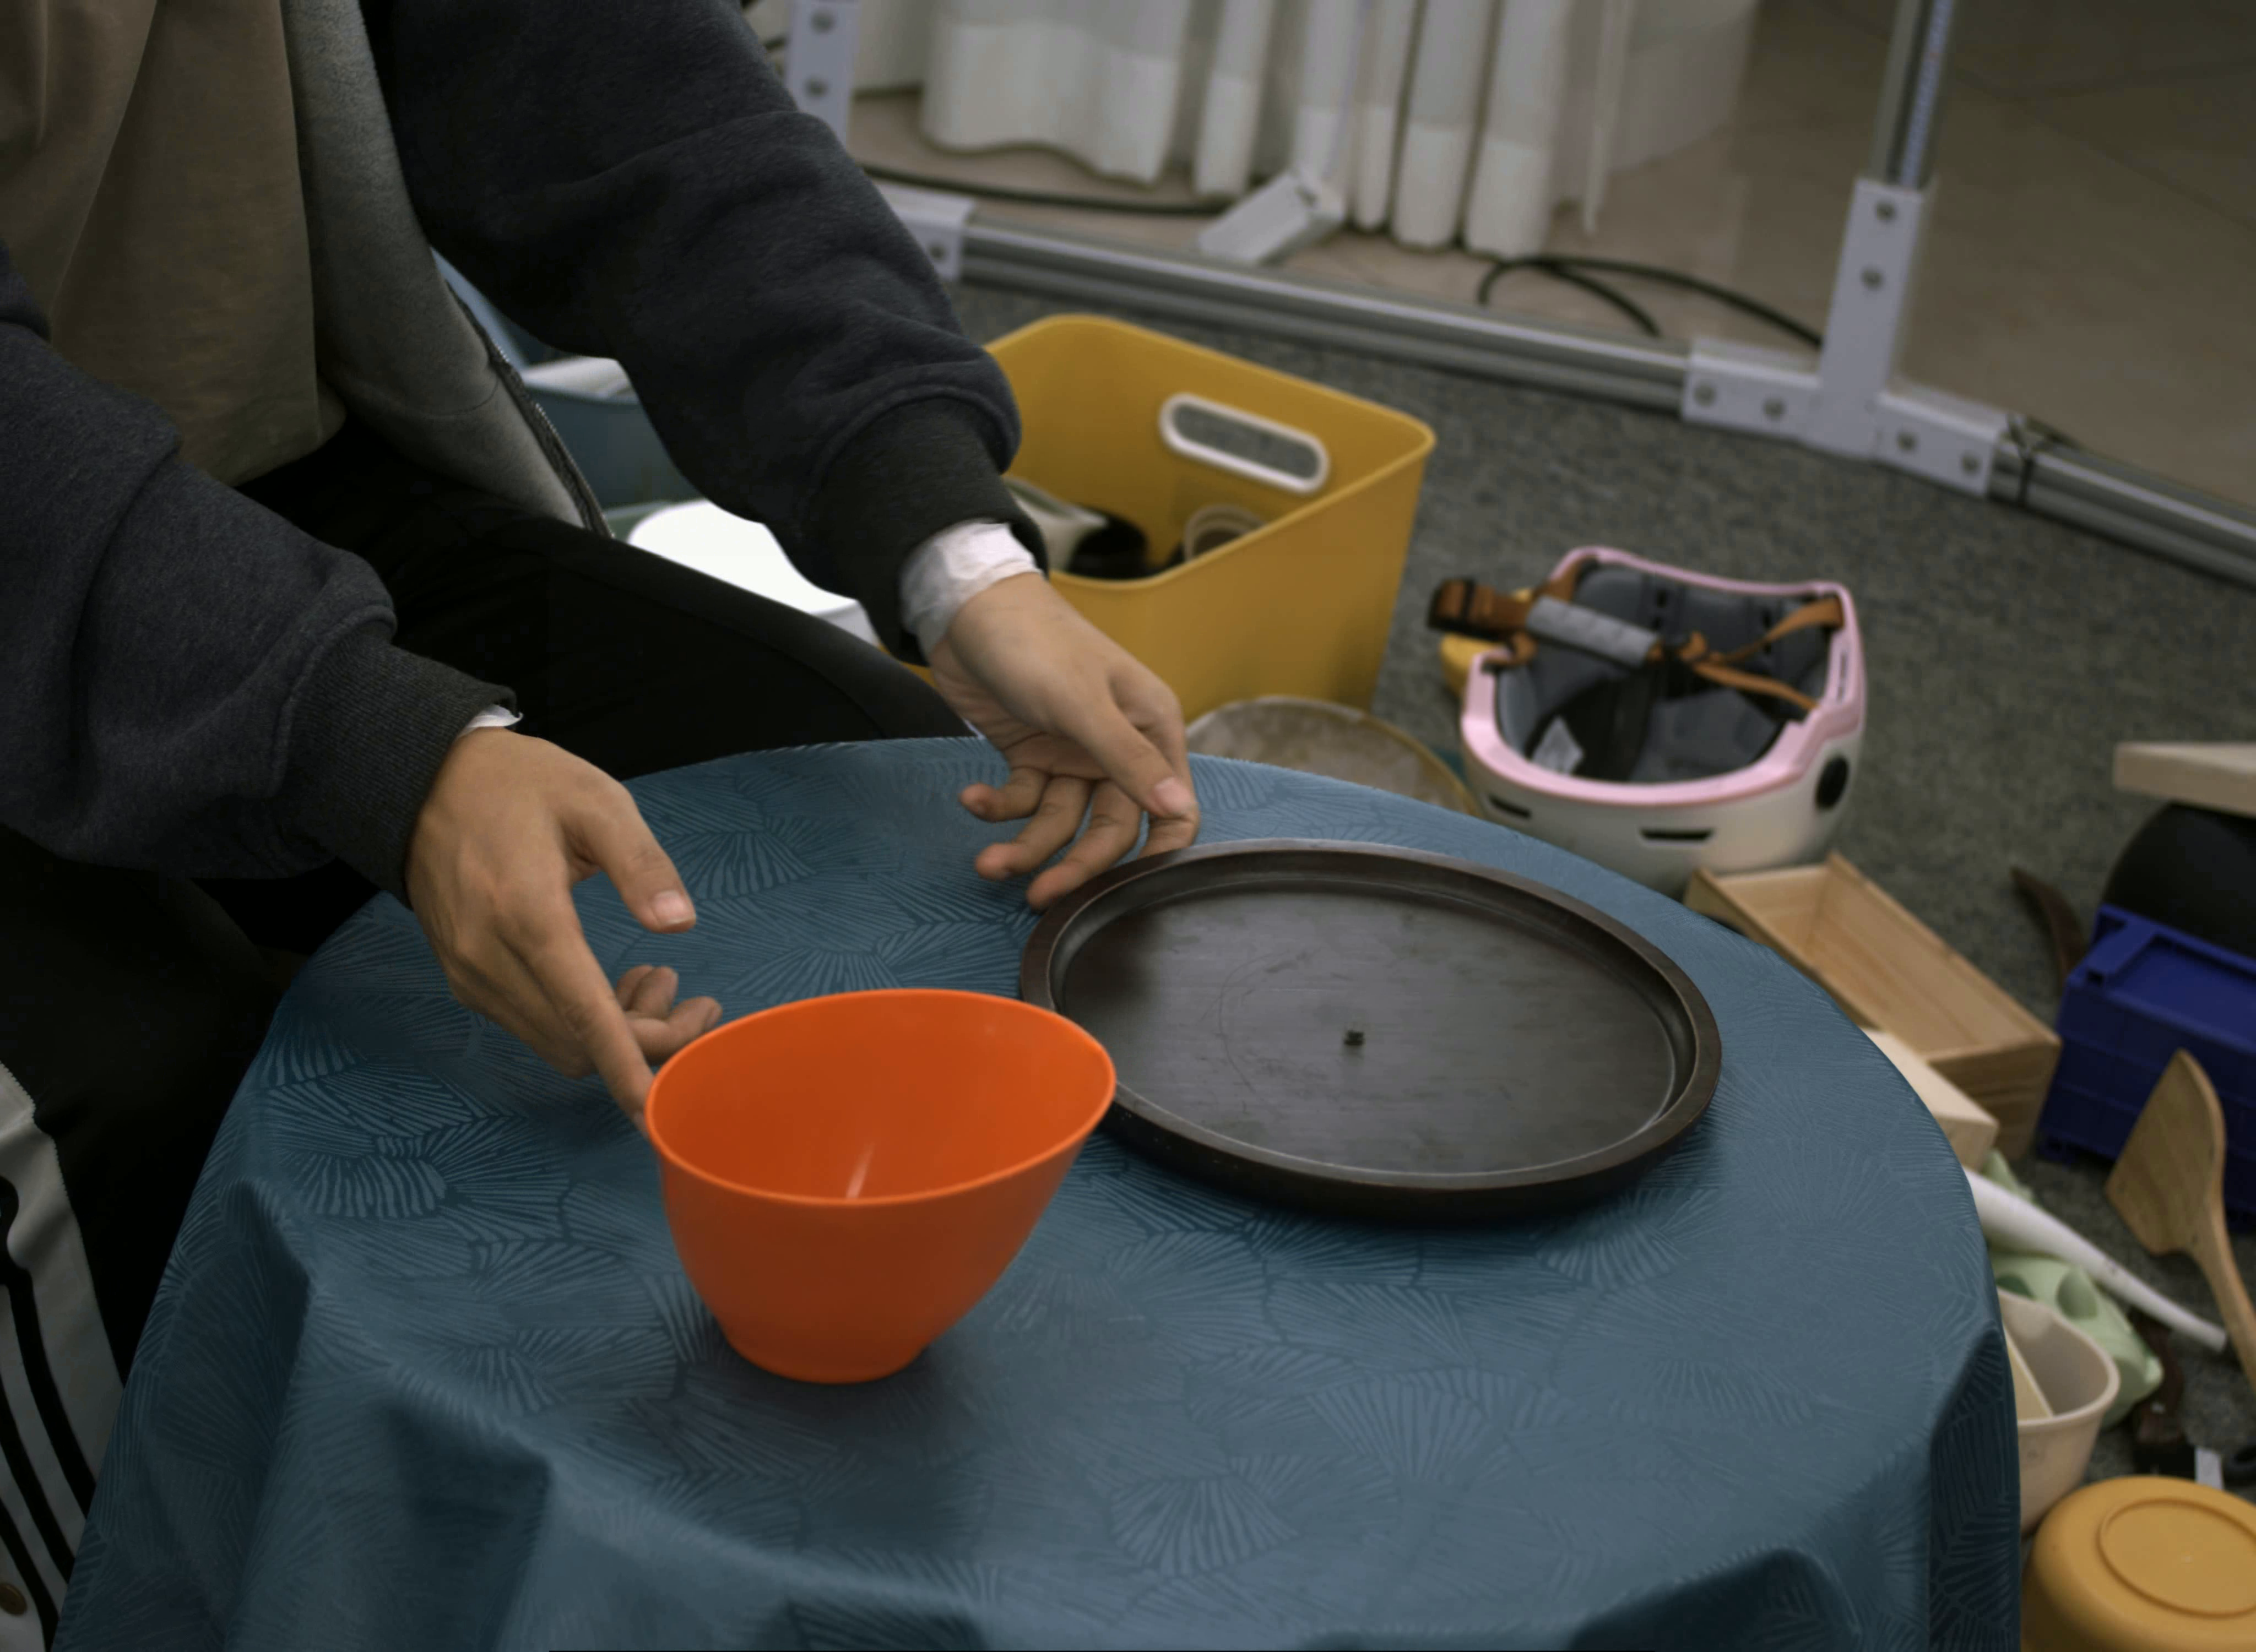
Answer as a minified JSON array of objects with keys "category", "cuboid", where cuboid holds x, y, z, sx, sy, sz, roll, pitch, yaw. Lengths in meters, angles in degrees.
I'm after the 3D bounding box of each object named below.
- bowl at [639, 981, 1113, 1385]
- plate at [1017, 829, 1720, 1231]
[{"category":"bowl","cuboid":[-0.083,0.119,1.679,0.147,0.104,0.149,5,29,-3]},{"category":"plate","cuboid":[0.085,0.072,1.896,0.254,0.029,0.256,4,28,-3]}]
